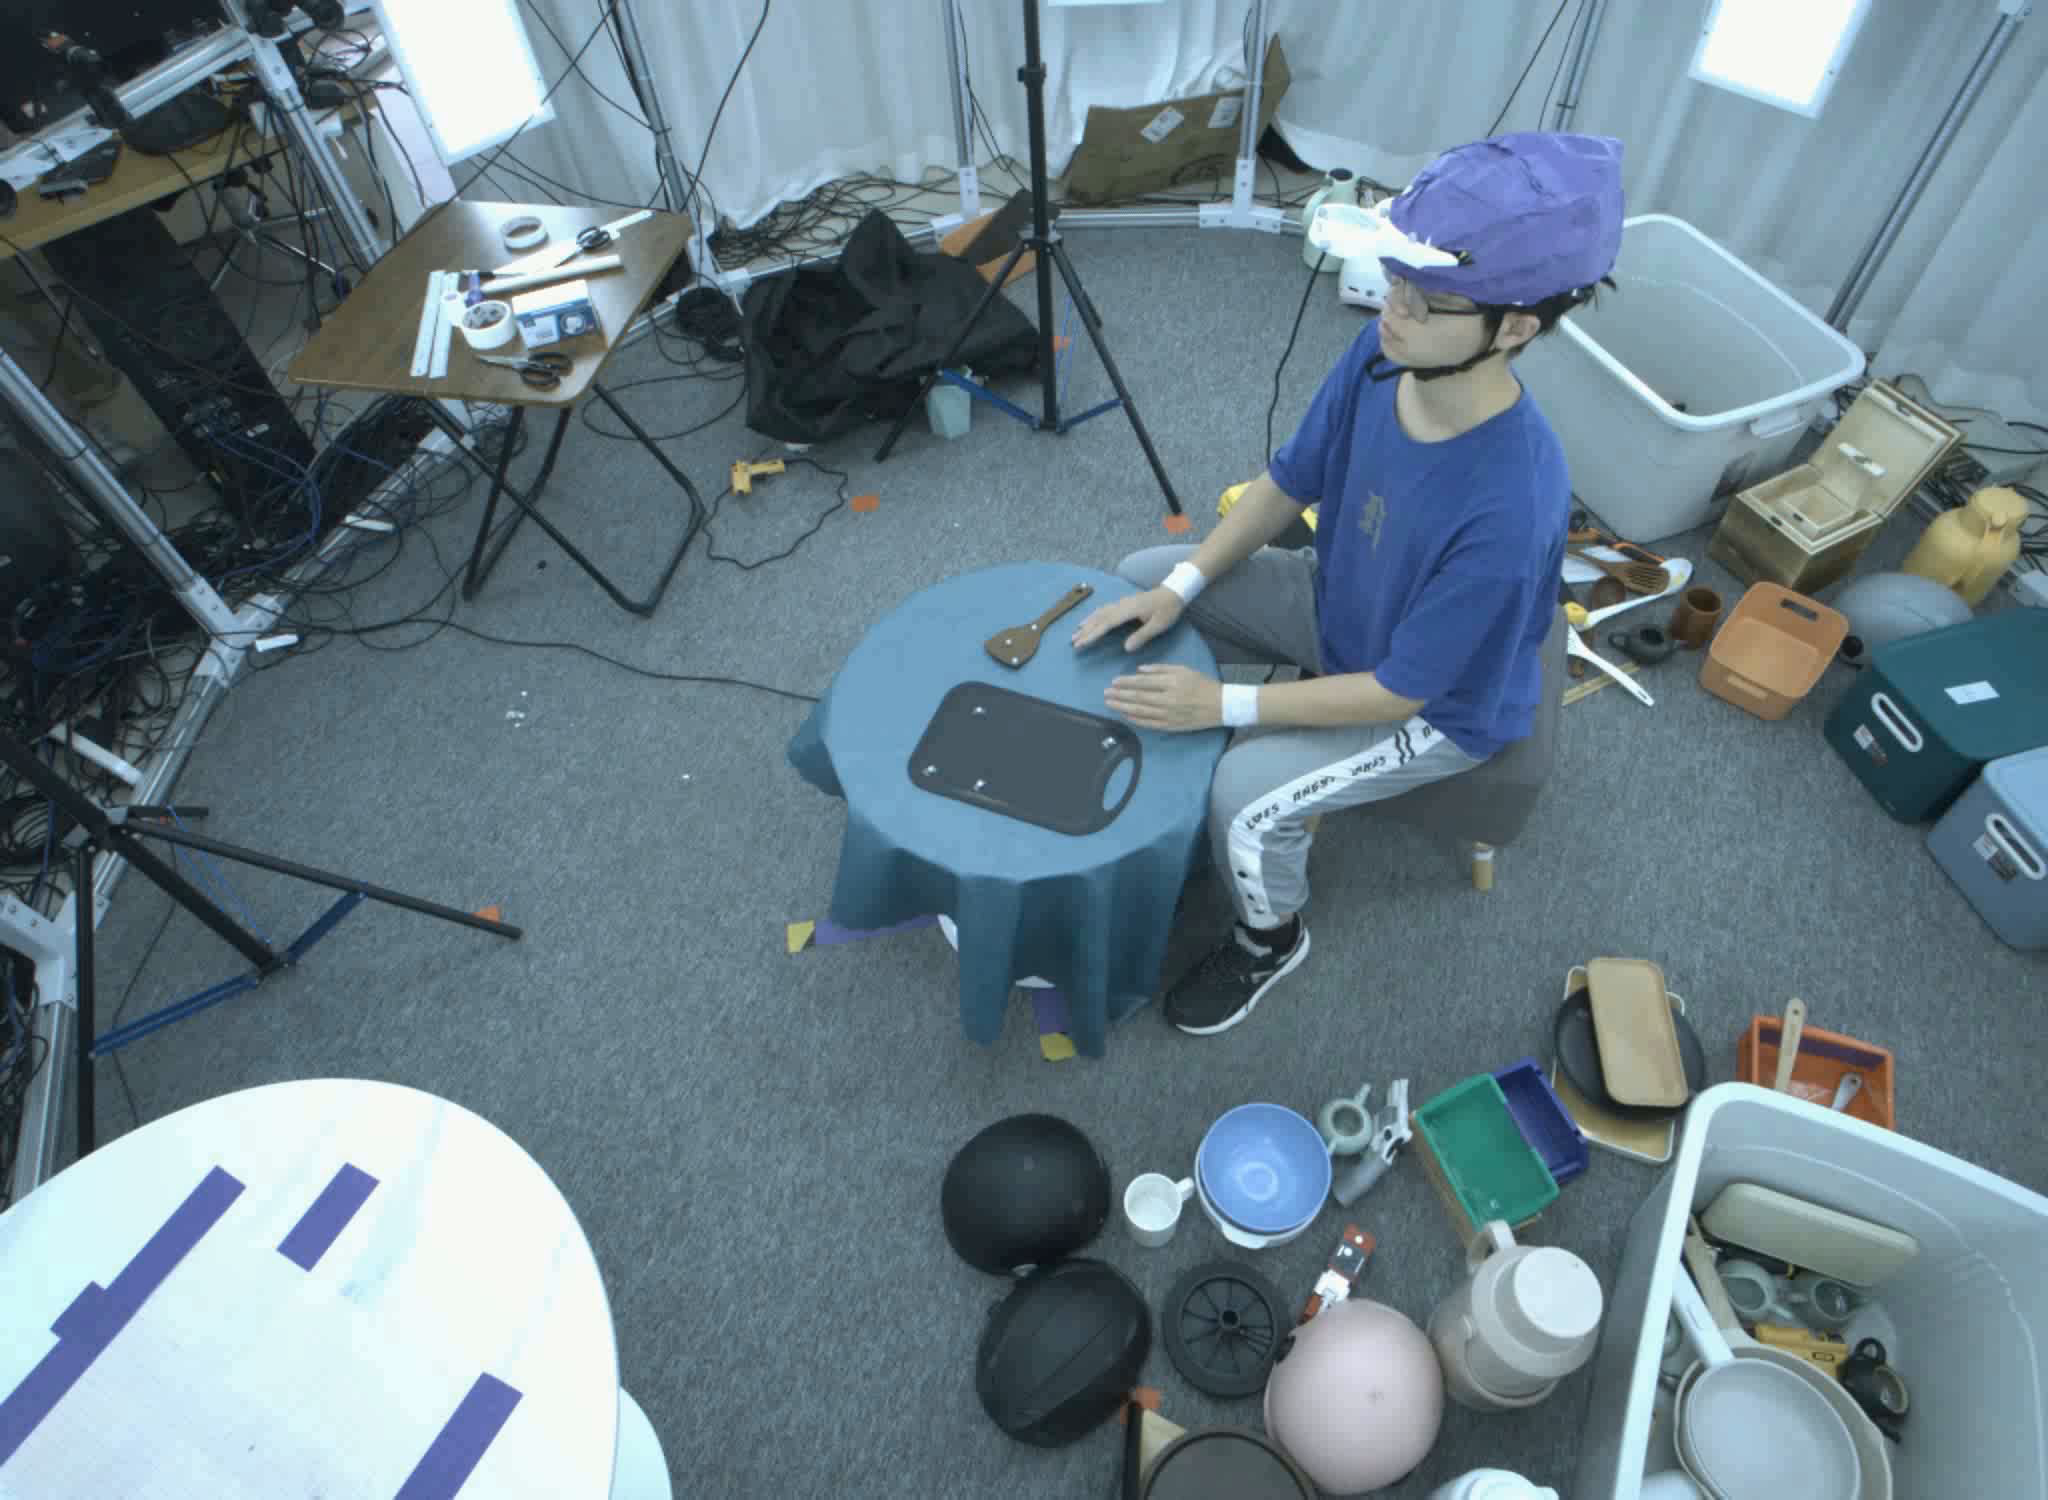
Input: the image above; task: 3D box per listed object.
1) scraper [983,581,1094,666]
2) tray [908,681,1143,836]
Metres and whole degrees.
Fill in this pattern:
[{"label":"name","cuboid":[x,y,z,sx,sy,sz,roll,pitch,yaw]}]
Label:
[{"label":"scraper","cuboid":[0.031,-0.202,1.916,0.074,0.011,0.213,38,63,24]},{"label":"tray","cuboid":[0.008,0.008,1.768,0.322,0.010,0.211,17,57,14]}]
